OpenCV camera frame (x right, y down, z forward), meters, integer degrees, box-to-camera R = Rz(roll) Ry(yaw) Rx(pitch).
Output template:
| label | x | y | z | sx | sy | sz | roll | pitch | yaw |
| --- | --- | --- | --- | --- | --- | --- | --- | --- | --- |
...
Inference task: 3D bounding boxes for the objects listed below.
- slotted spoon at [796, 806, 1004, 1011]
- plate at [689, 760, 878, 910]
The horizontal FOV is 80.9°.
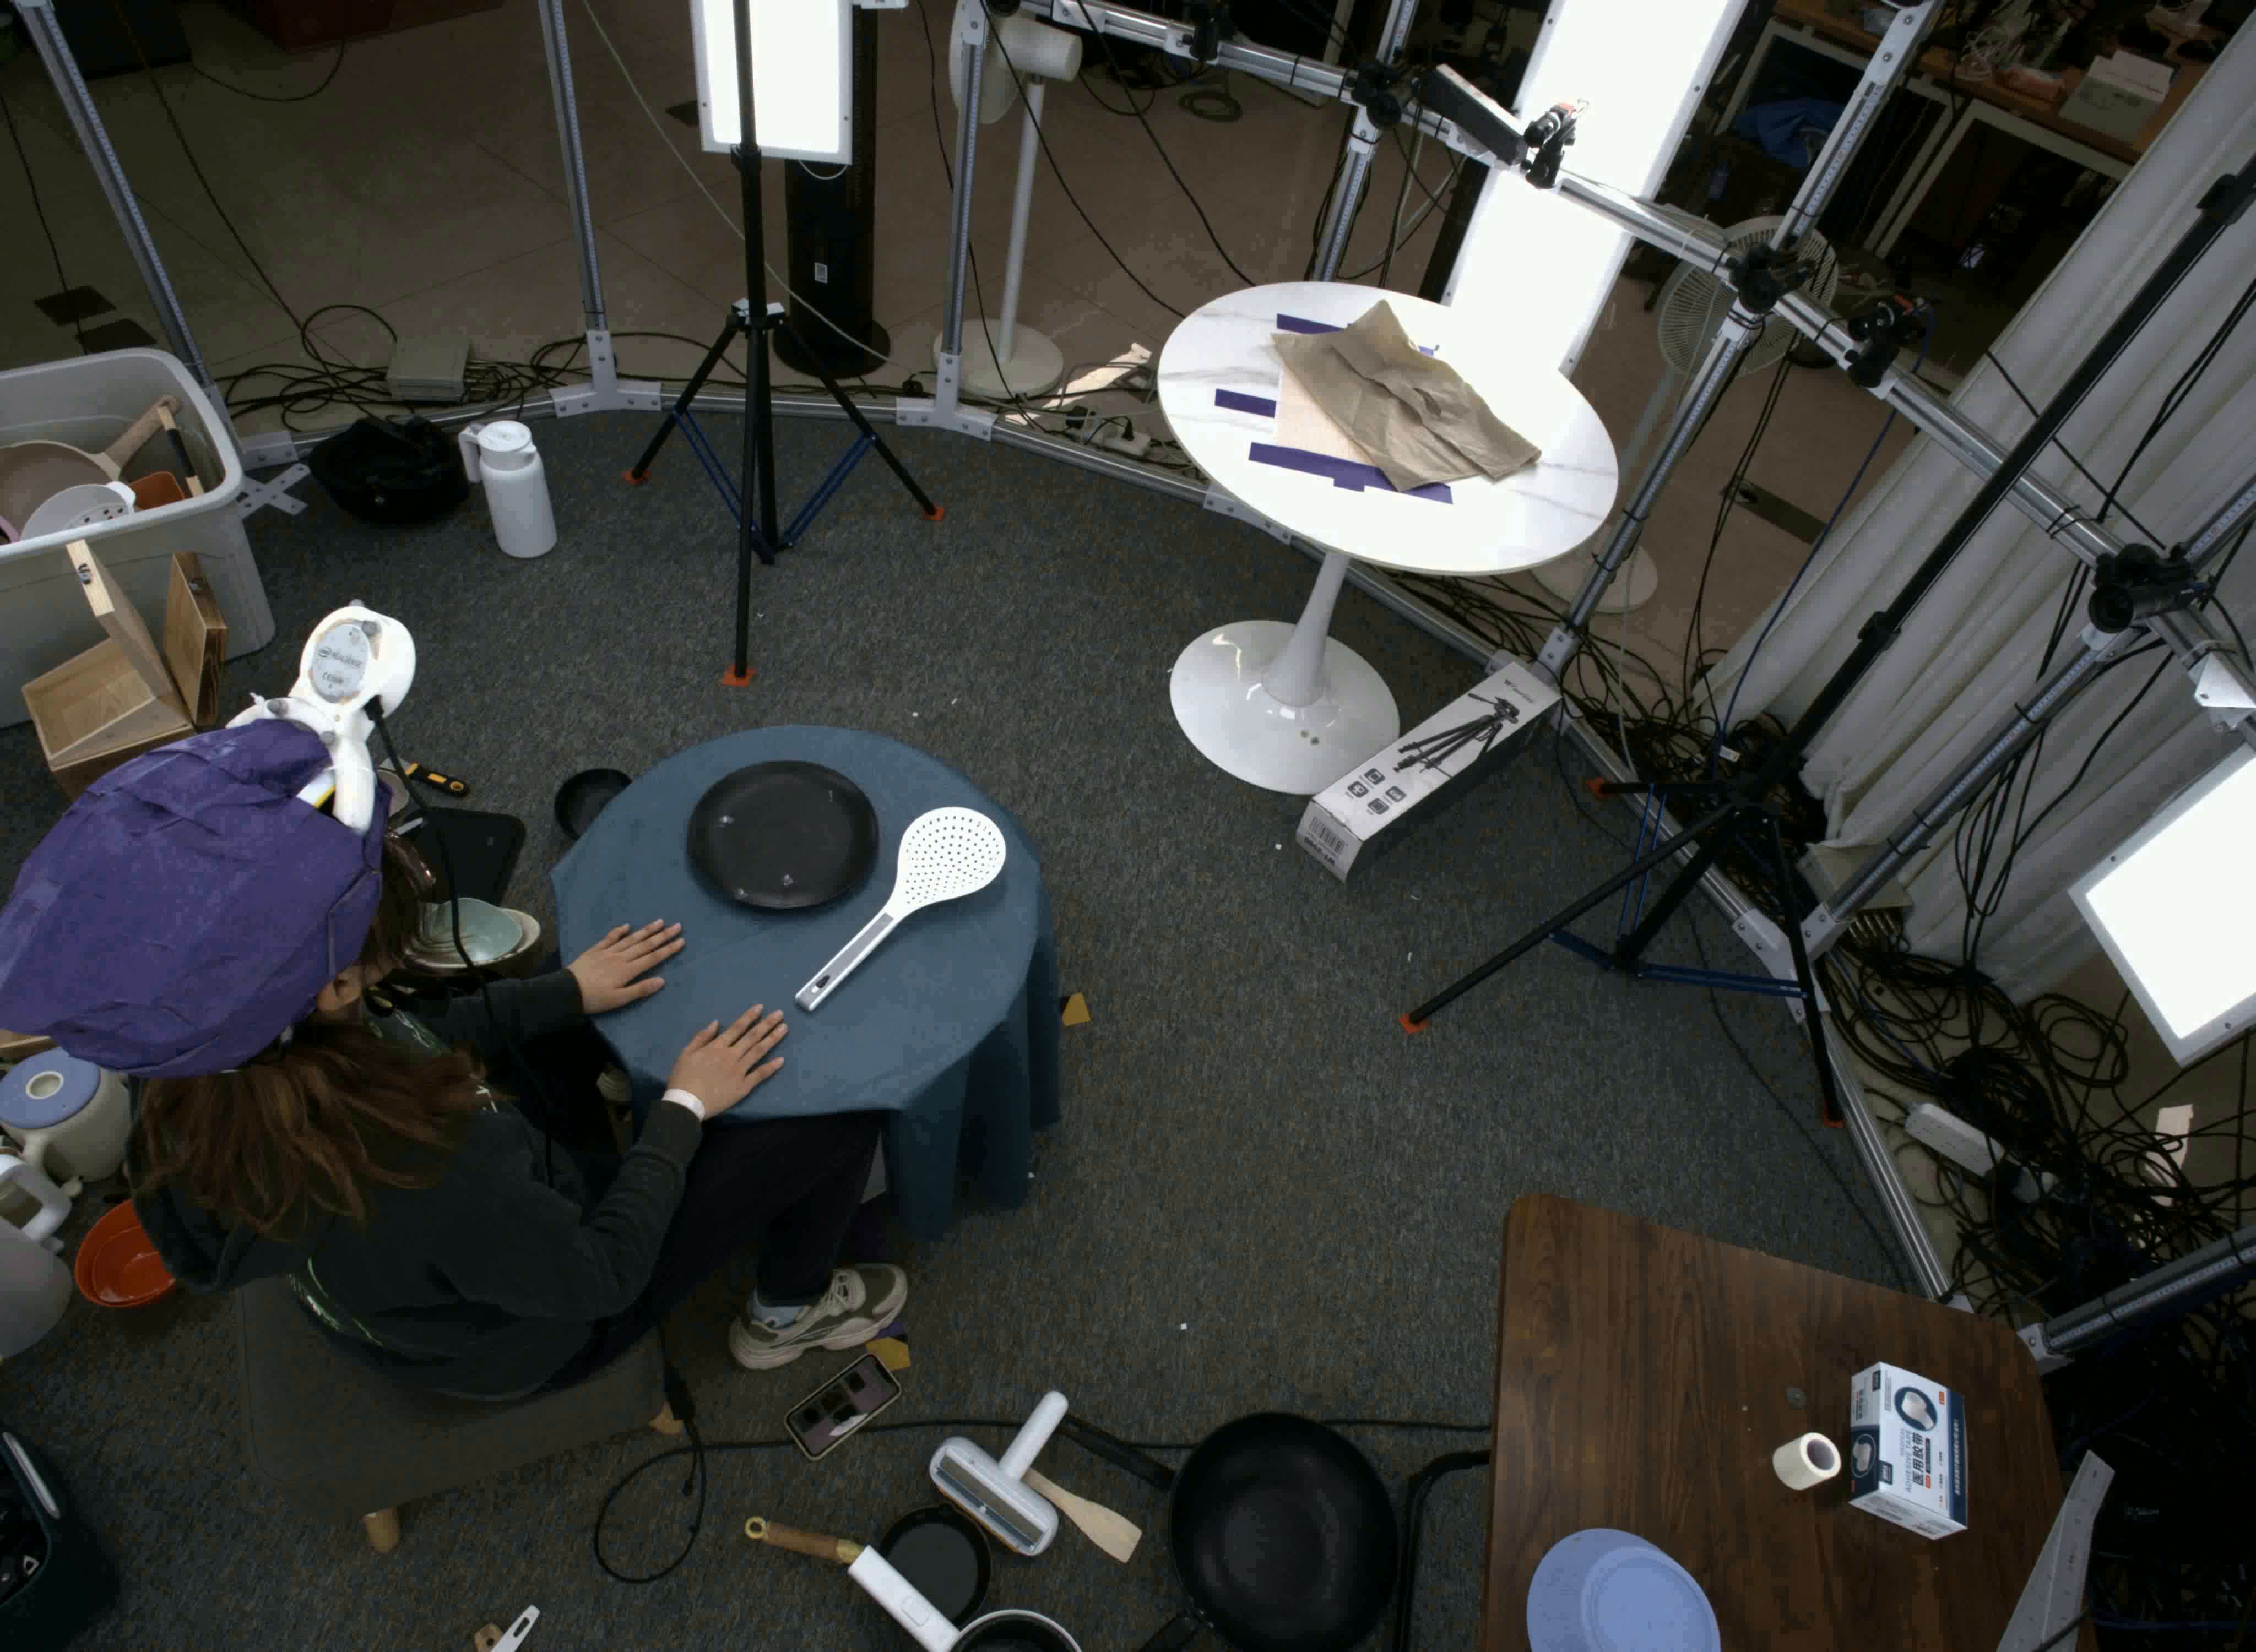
| label | x | y | z | sx | sy | sz | roll | pitch | yaw |
| --- | --- | --- | --- | --- | --- | --- | --- | --- | --- |
| slotted spoon | -0.293 | 0.103 | 1.657 | 0.133 | 0.047 | 0.349 | 33 | 54 | 14 |
| plate | -0.450 | 0.012 | 1.698 | 0.244 | 0.024 | 0.240 | 8 | 52 | -9 |
